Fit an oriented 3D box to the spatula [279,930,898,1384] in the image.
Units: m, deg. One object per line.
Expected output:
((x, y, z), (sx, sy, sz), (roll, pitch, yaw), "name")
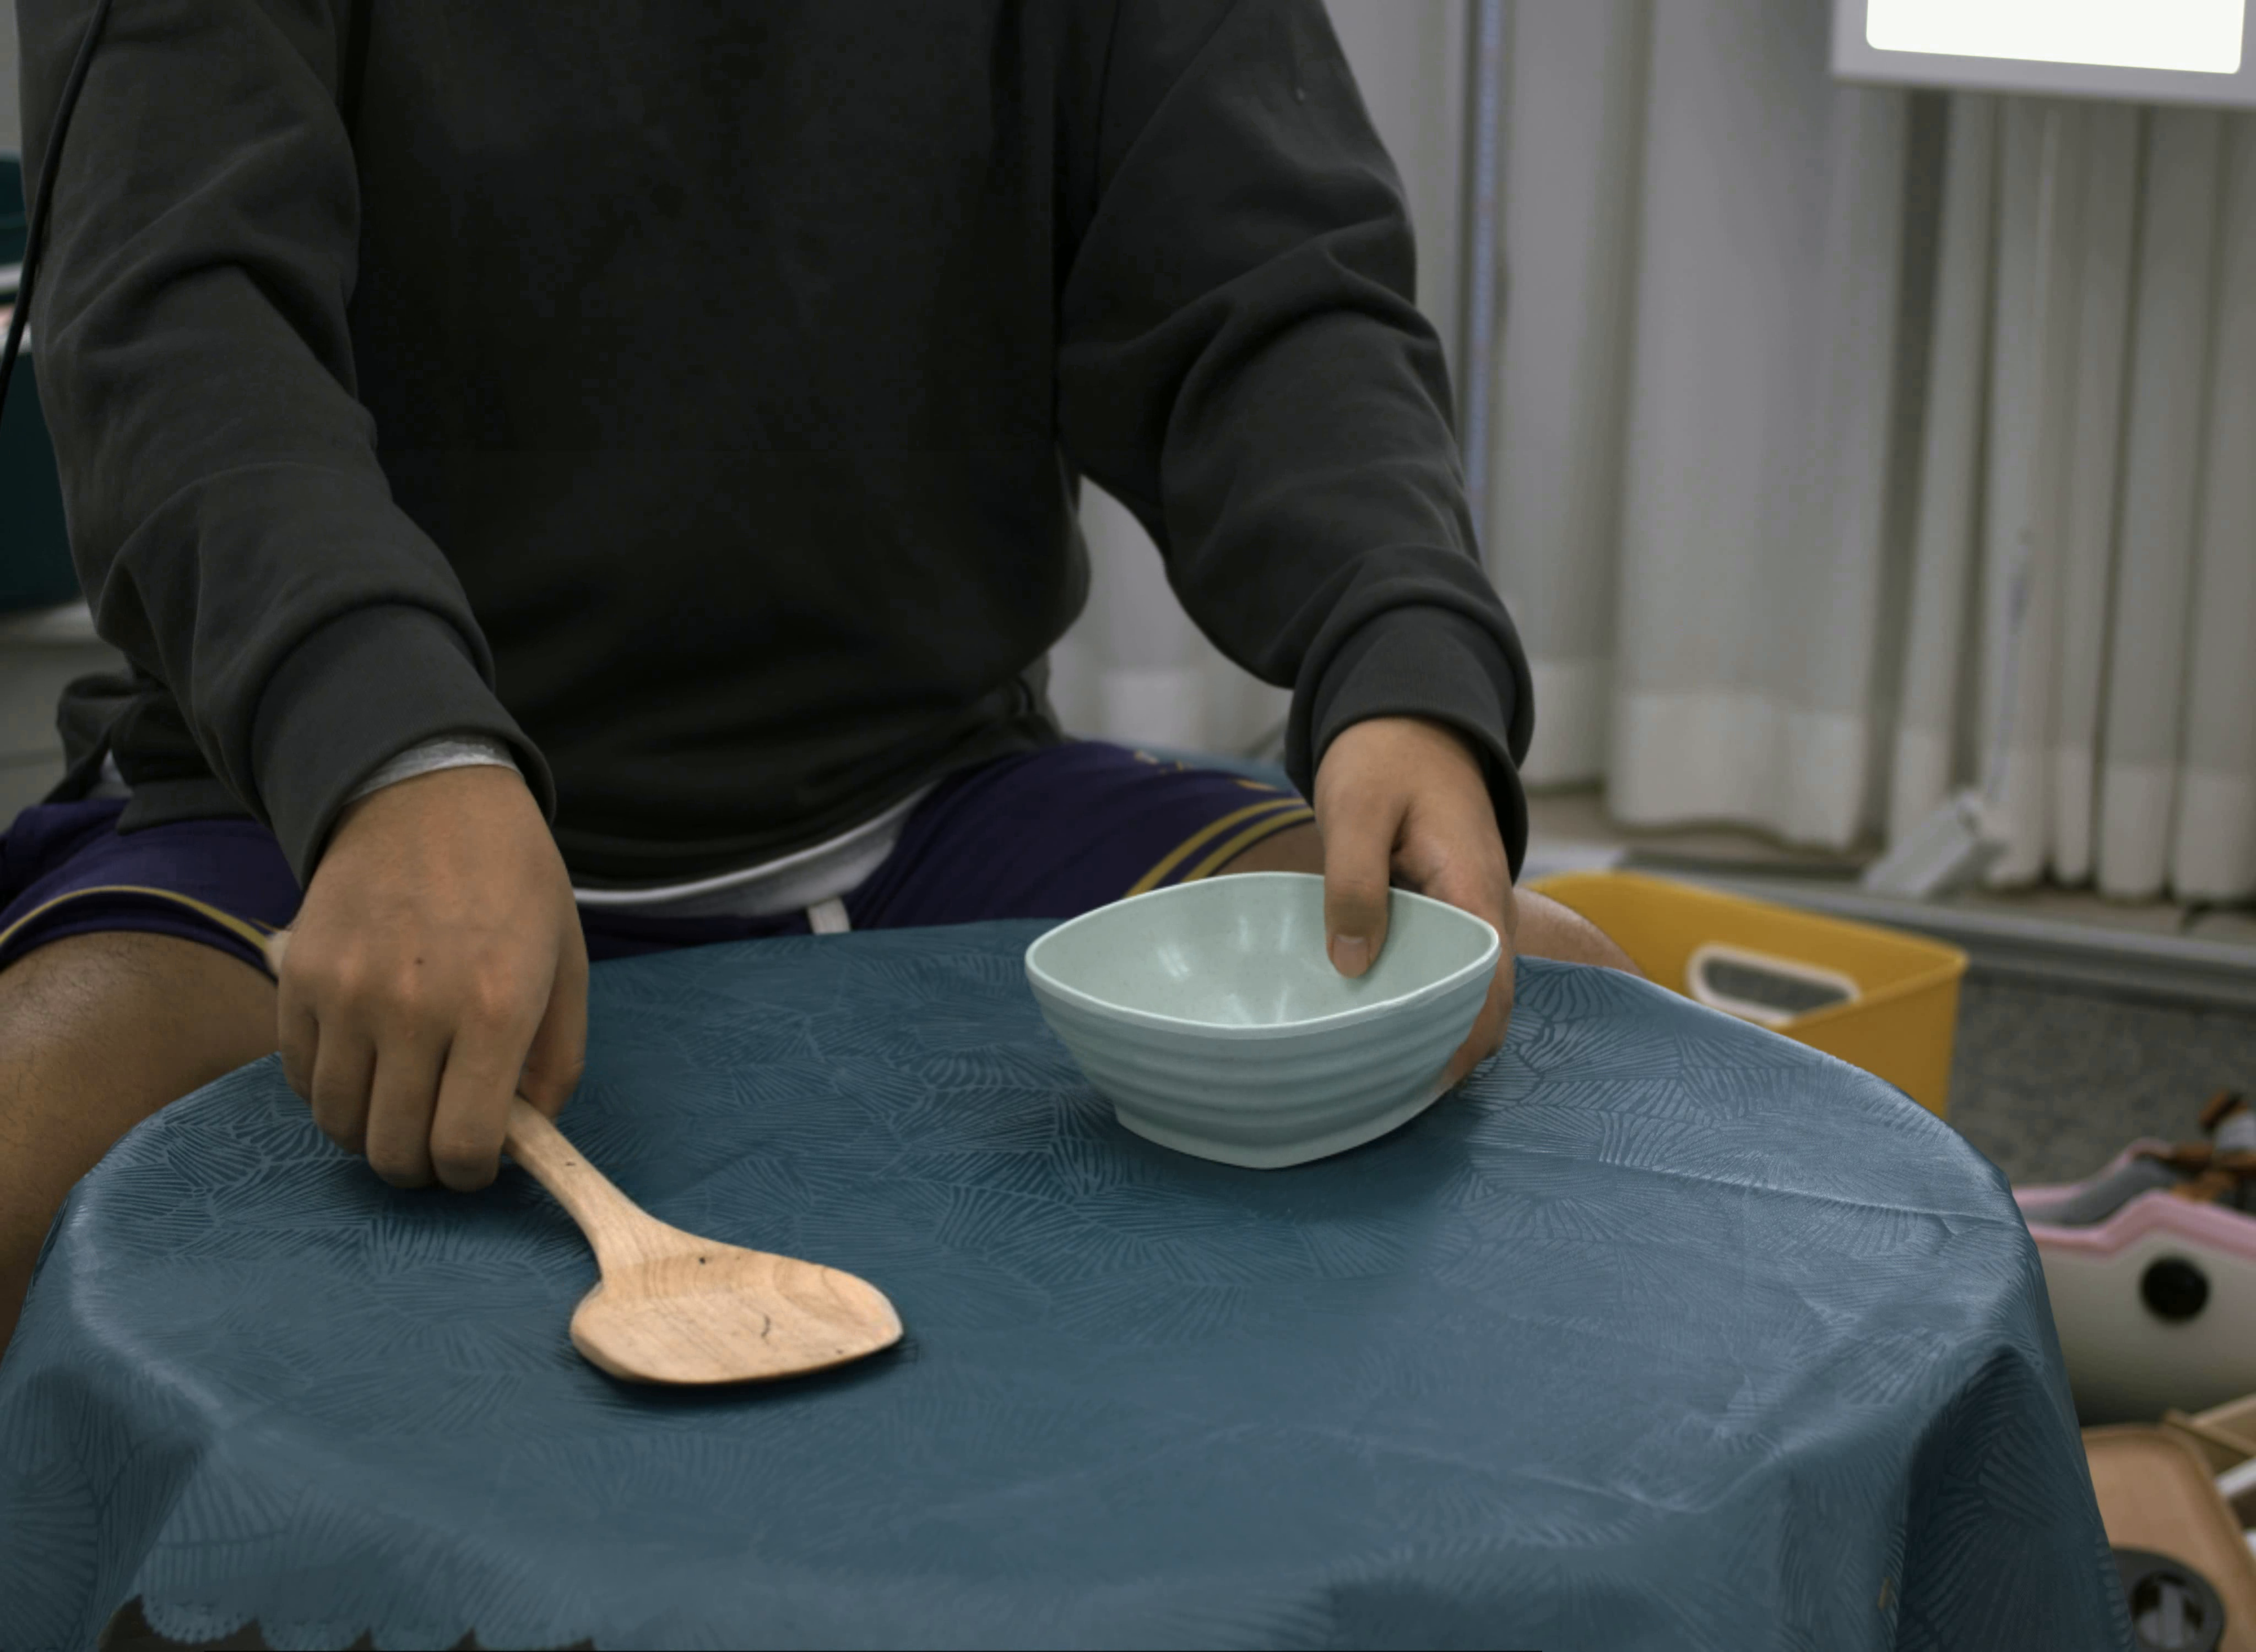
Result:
((-0.189, 0.095, 1.610), (0.096, 0.018, 0.385), (-5, 21, -29), "spatula")

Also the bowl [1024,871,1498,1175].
((0.043, 0.066, 1.680), (0.151, 0.059, 0.150), (0, 19, 1), "bowl")
